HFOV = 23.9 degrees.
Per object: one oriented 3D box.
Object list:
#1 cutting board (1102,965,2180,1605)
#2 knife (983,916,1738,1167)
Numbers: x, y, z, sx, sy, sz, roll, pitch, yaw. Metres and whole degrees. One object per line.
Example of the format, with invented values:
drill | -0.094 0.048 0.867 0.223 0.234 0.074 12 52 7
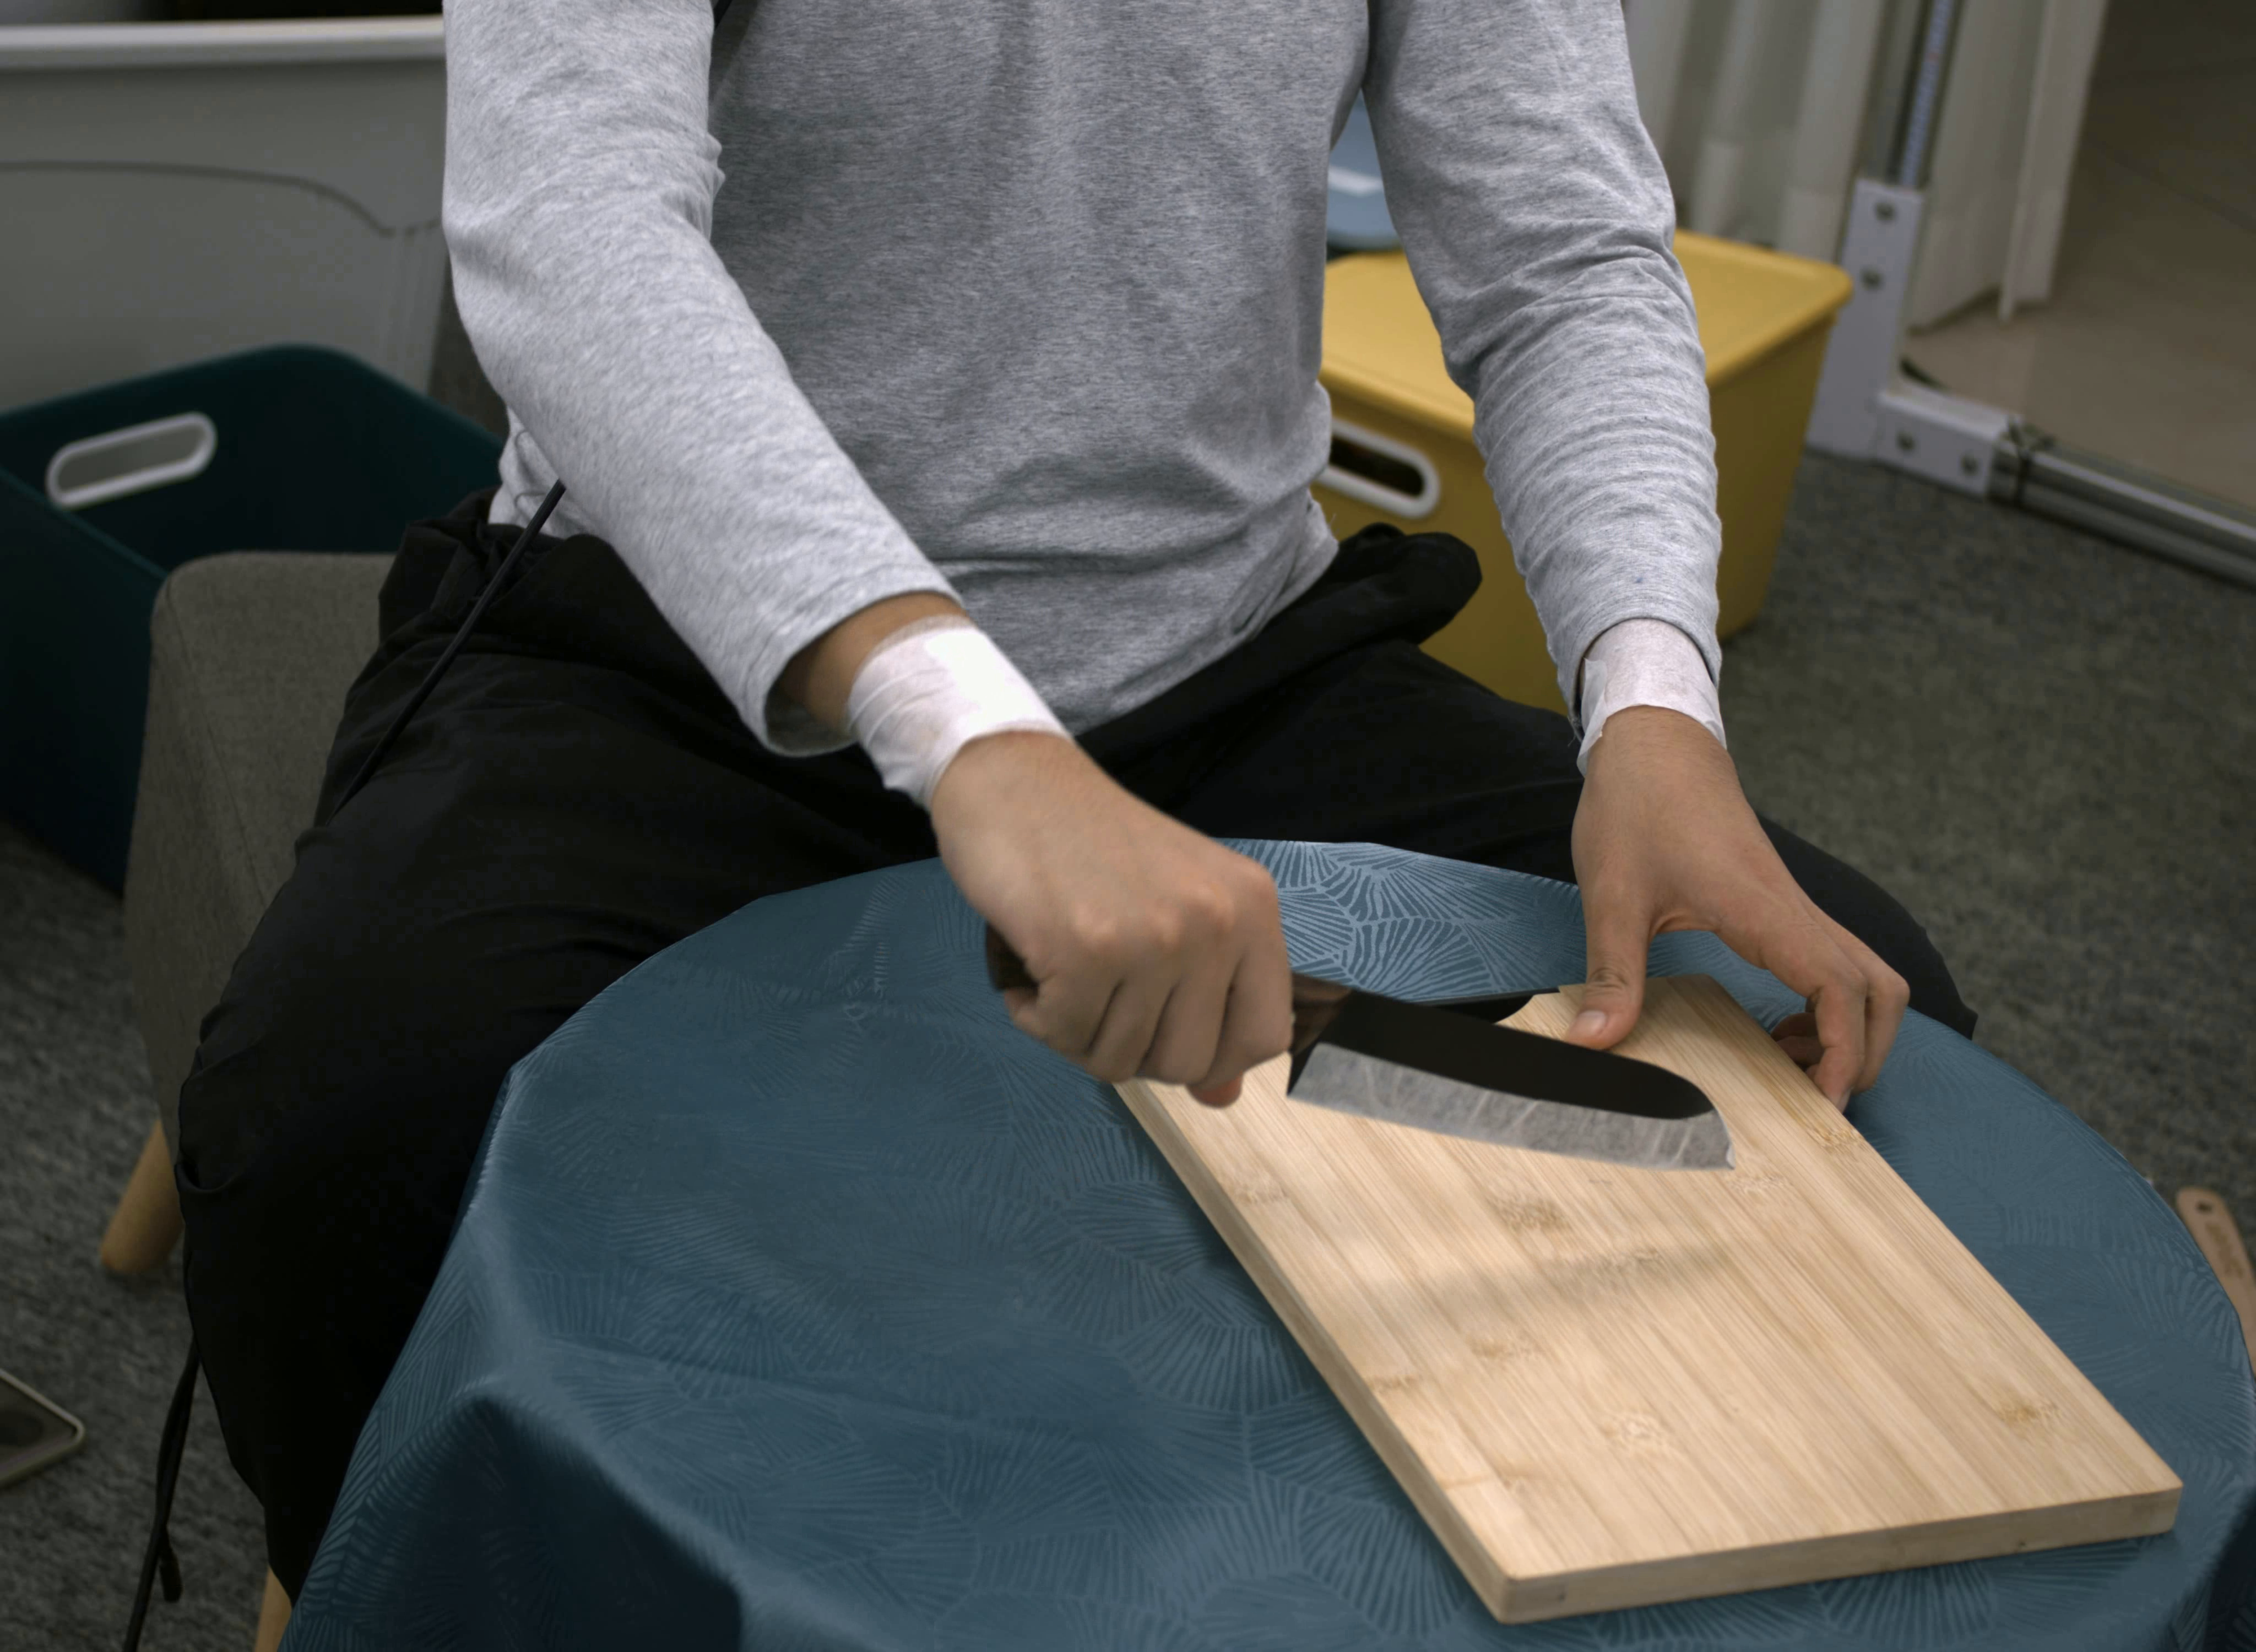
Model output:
cutting board | 0.161 0.146 1.781 0.249 0.023 0.352 -4 29 -22
knife | 0.079 0.073 1.722 0.287 0.050 0.020 16 24 -24
